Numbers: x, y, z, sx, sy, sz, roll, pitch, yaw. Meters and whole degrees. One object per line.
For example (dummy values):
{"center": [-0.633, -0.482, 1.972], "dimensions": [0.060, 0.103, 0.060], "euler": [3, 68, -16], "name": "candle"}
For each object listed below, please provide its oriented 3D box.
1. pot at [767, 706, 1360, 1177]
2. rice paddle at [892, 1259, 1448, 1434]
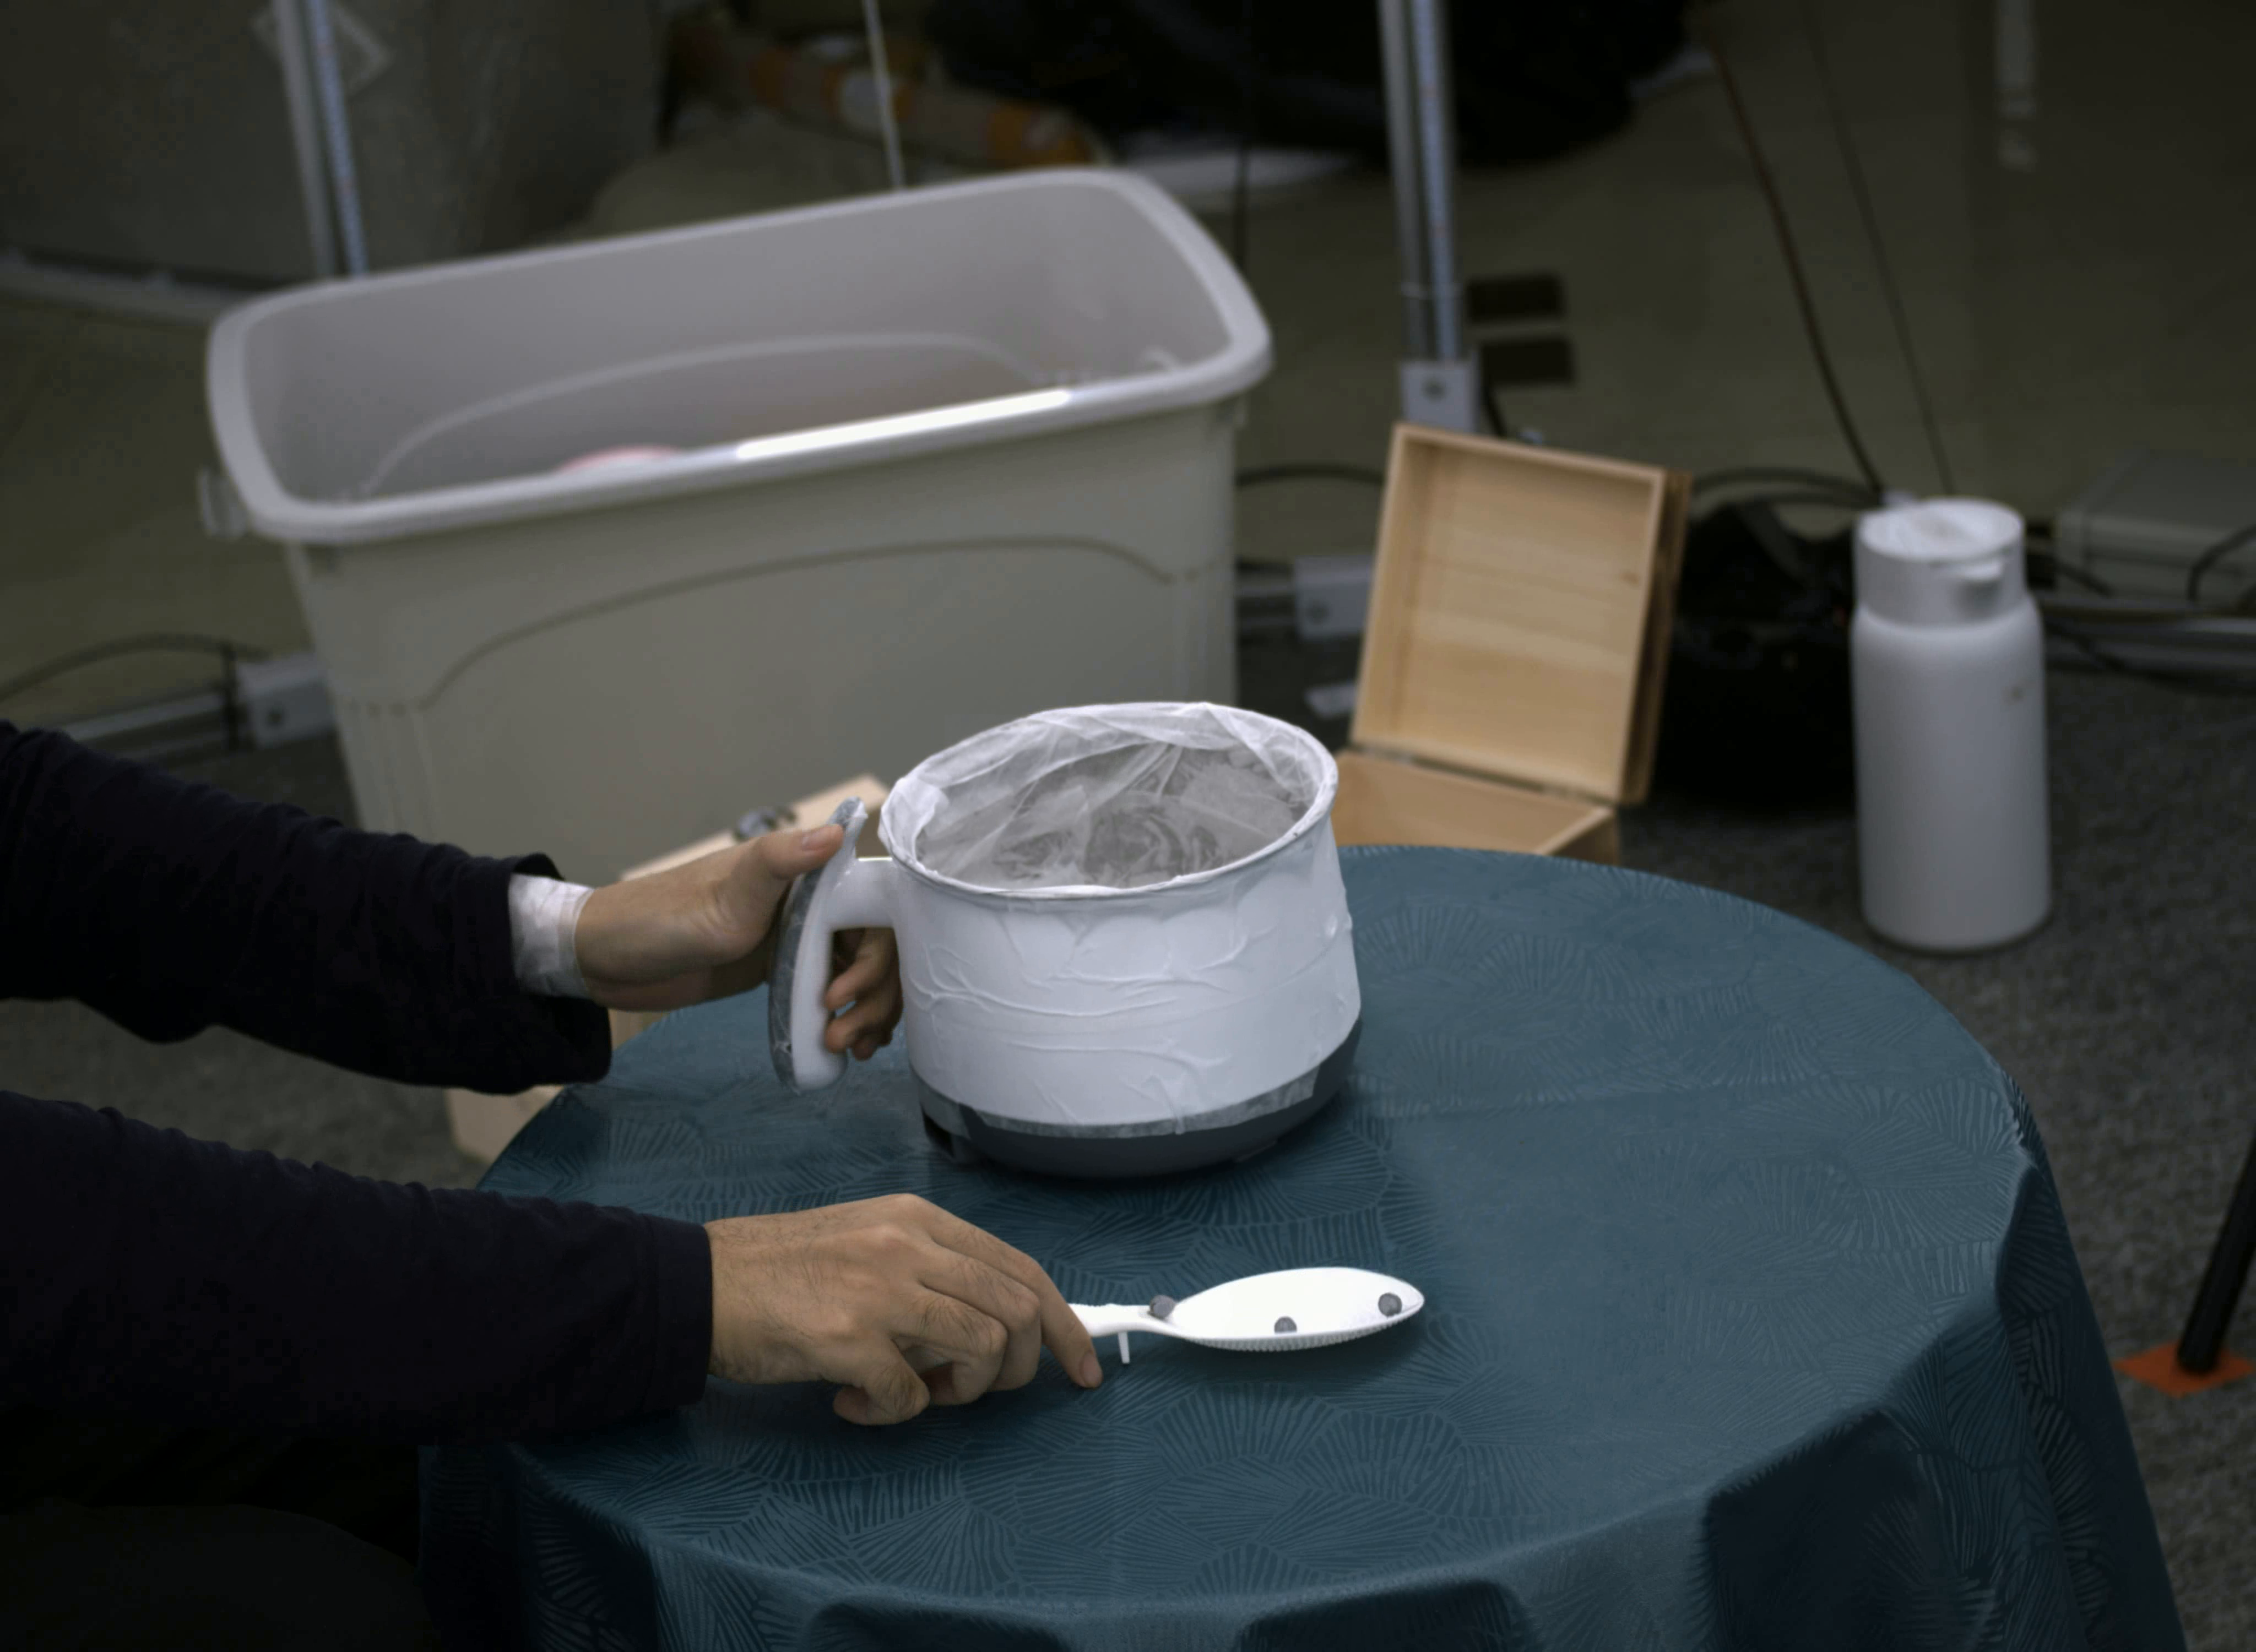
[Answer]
{"center": [-0.028, 0.047, 2.191], "dimensions": [0.233, 0.139, 0.176], "euler": [-3, 23, 6], "name": "pot"}
{"center": [0.017, 0.178, 2.025], "dimensions": [0.204, 0.029, 0.068], "euler": [-12, 11, -14], "name": "rice paddle"}
